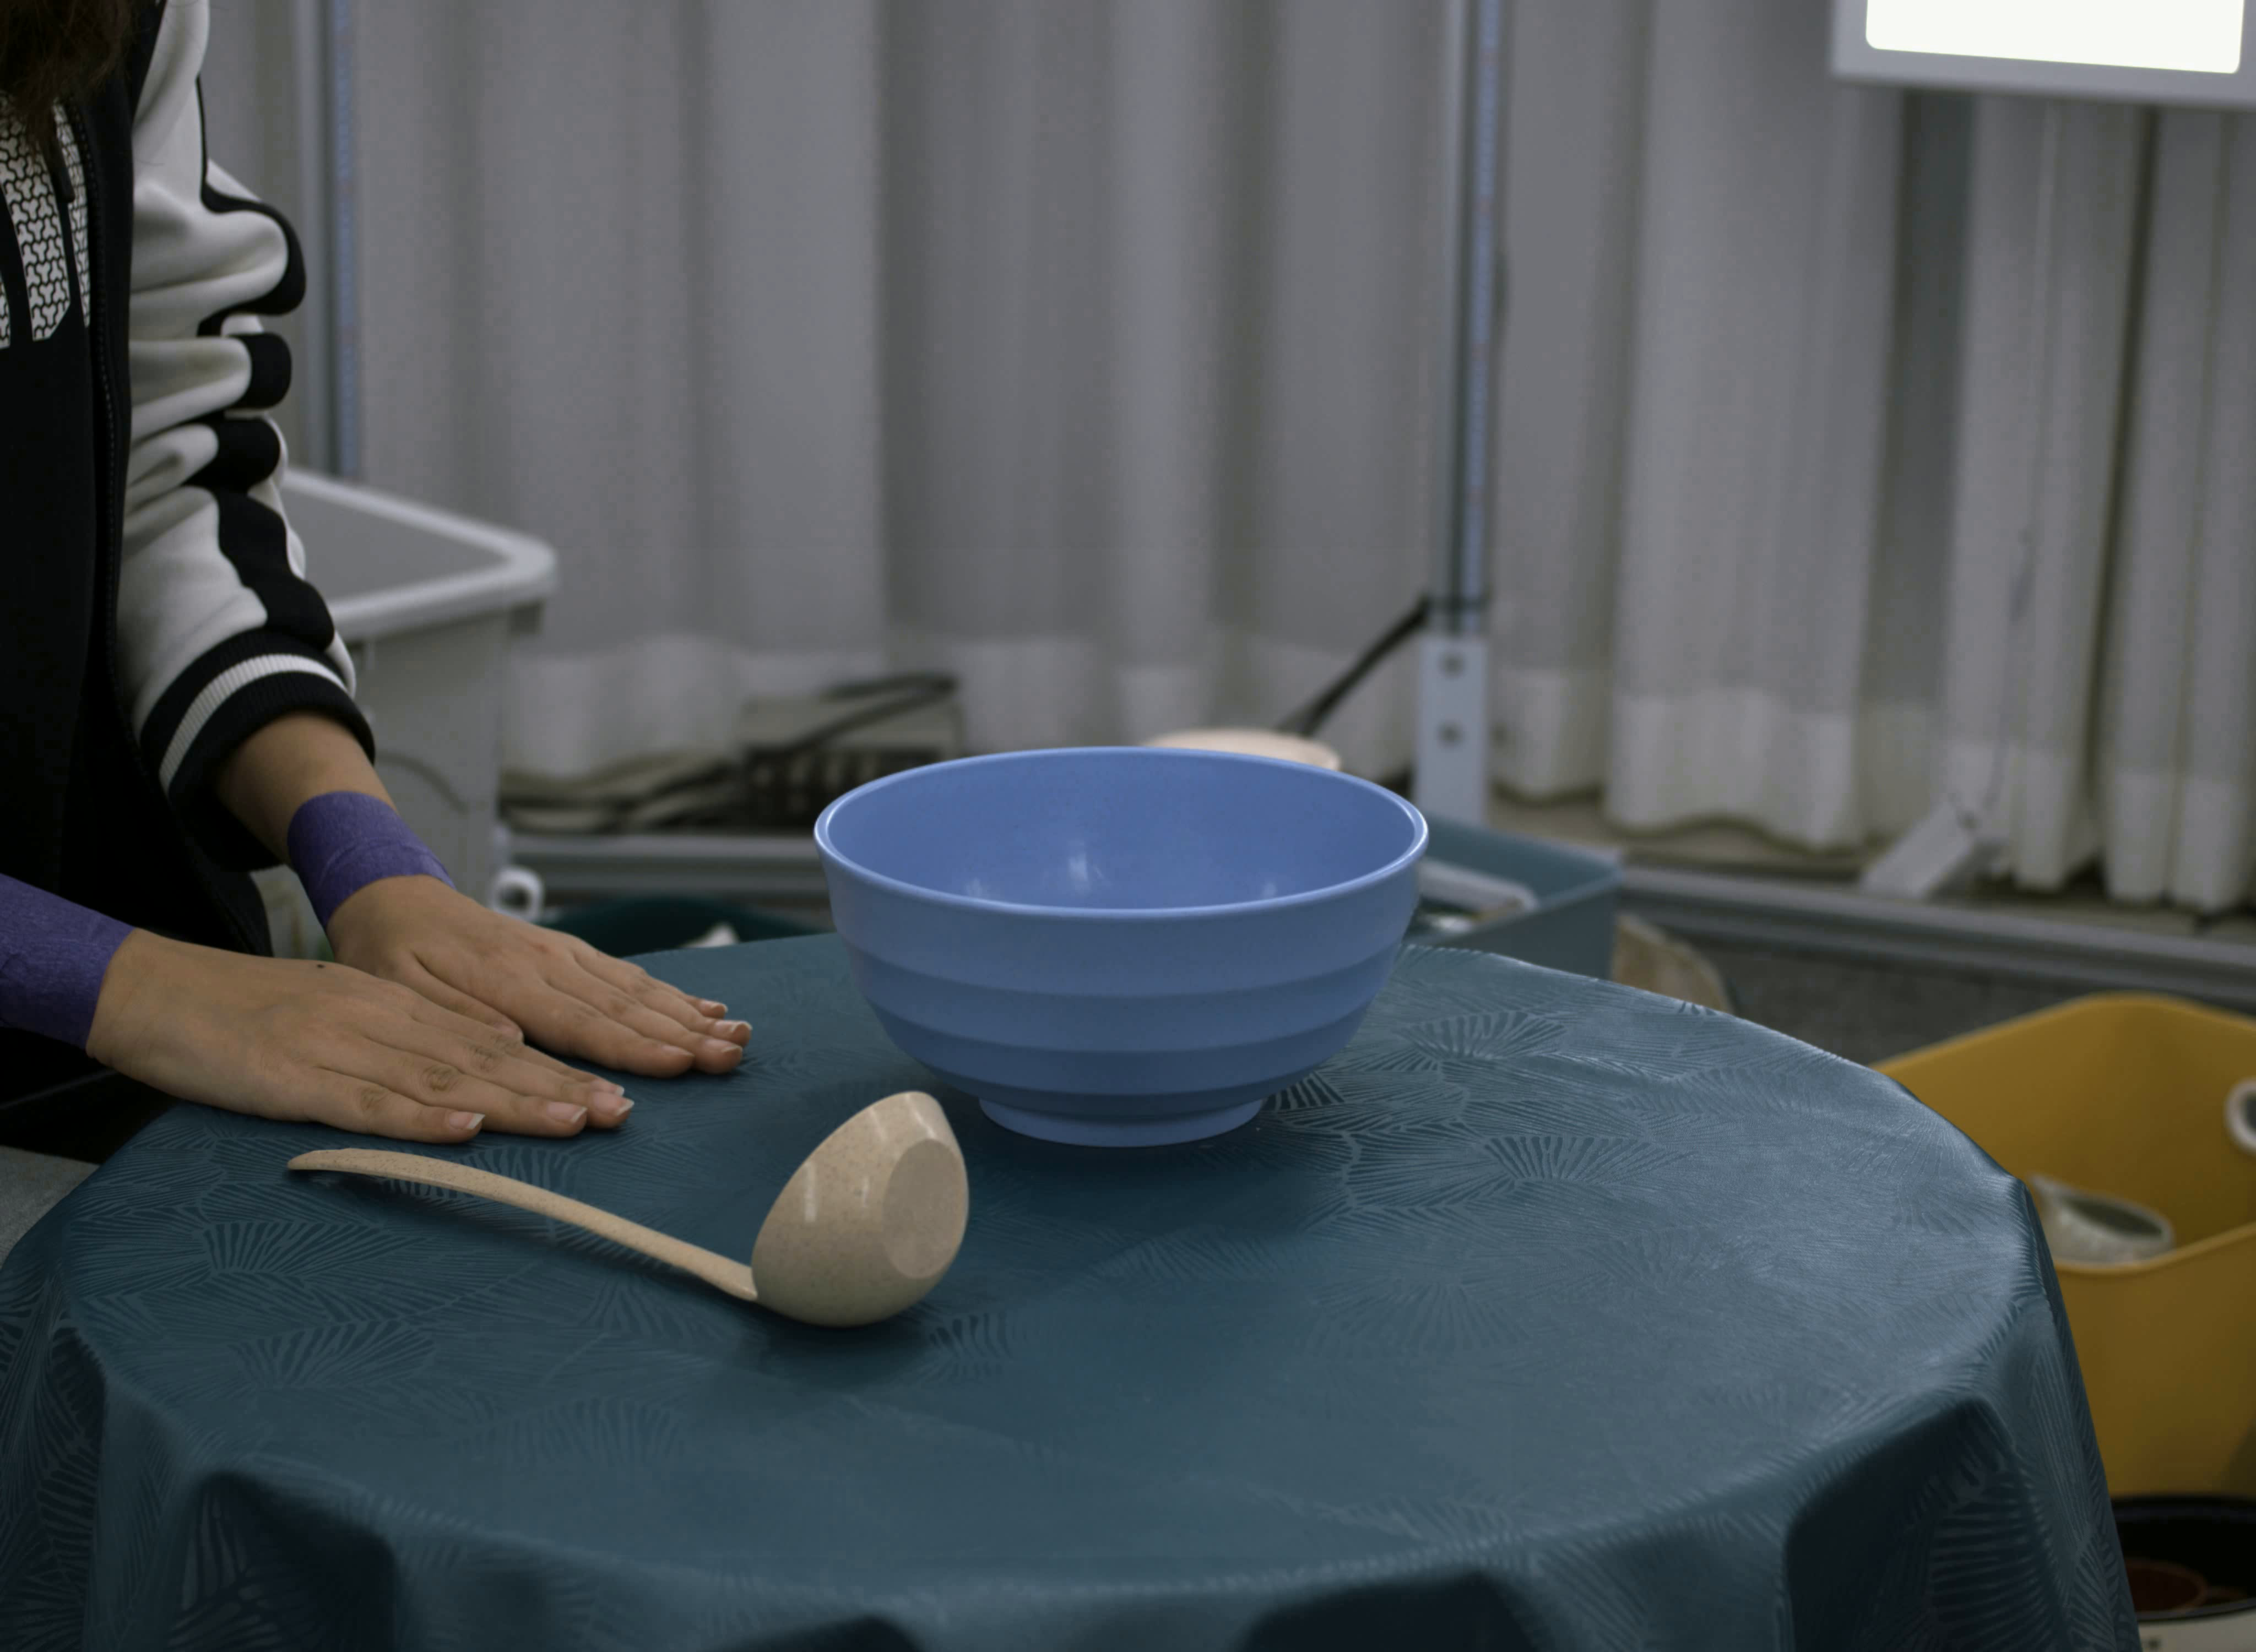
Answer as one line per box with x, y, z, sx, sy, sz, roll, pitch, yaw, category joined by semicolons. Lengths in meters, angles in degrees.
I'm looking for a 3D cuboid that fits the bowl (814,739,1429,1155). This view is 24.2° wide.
-0.002;0.045;1.691;0.196;0.096;0.195;0;18;0;bowl

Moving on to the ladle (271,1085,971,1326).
-0.157;0.092;1.553;0.251;0.073;0.072;11;12;34;ladle
